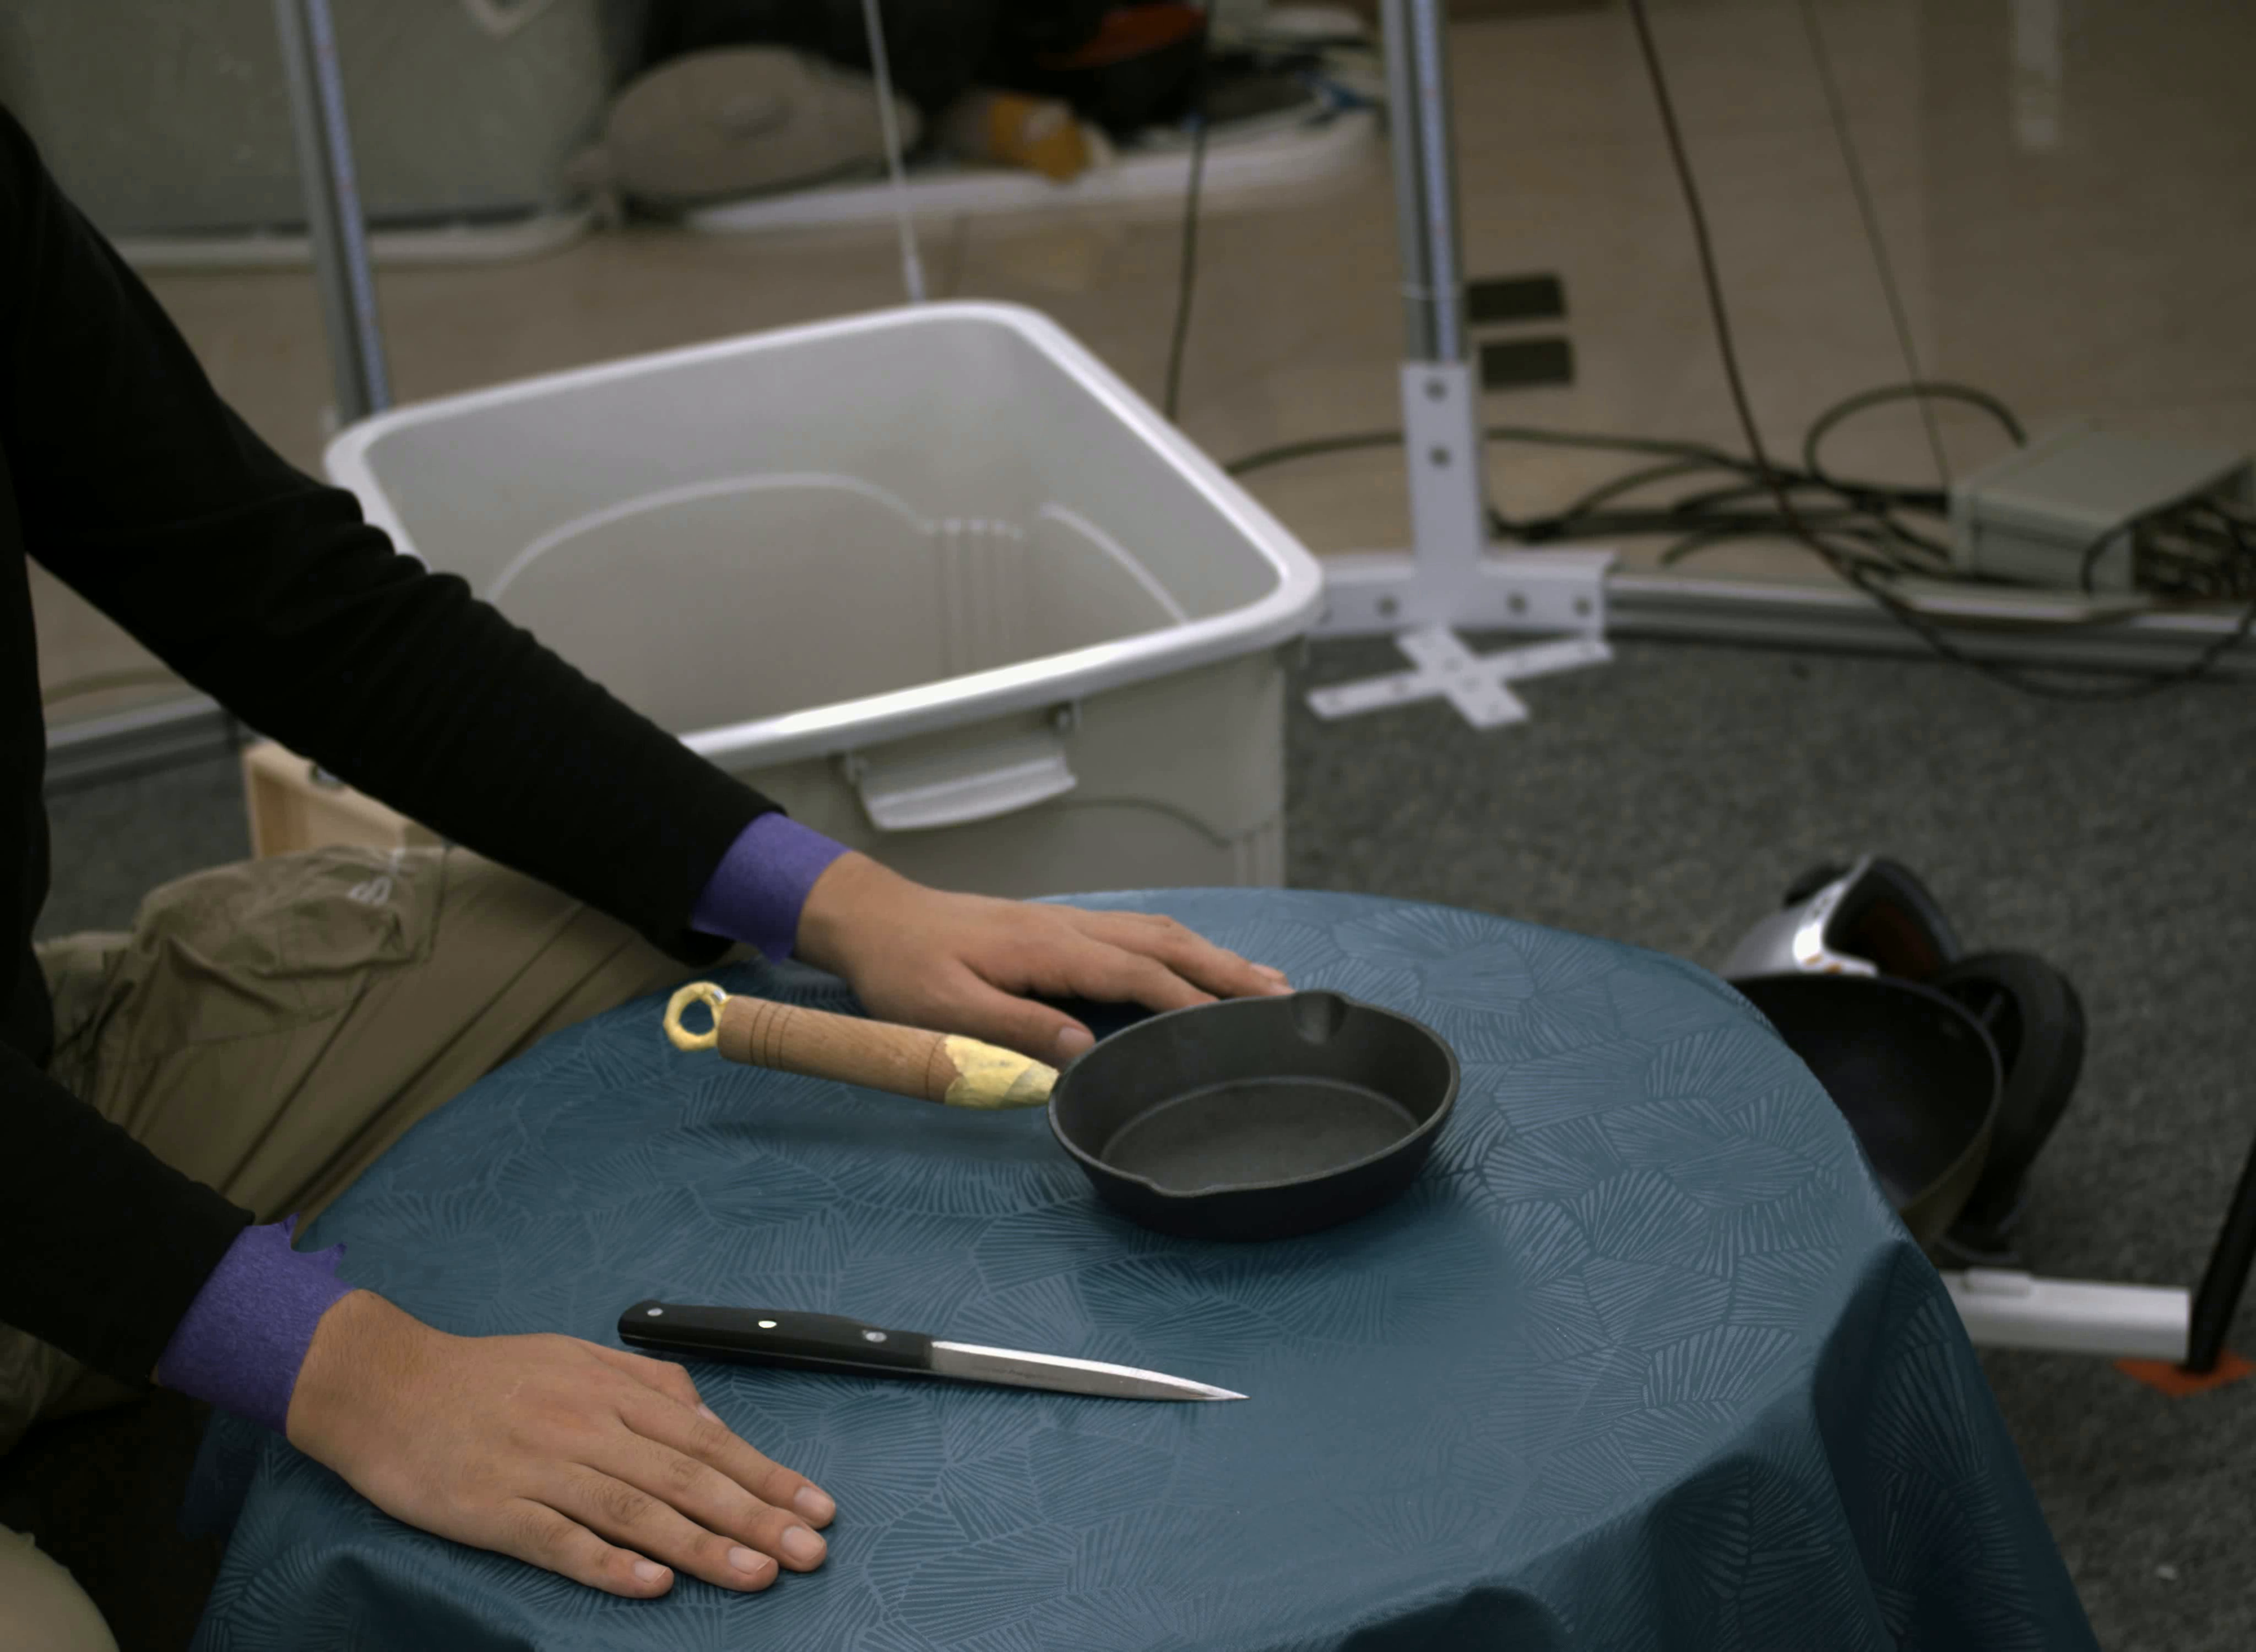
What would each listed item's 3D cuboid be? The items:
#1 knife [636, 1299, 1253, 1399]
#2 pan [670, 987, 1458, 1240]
[{"bbox_3d":[-0.069,0.192,2.041,0.237,0.016,0.024,5,28,18],"label":"knife"},{"bbox_3d":[-0.029,0.102,2.182,0.323,0.050,0.167,4,27,24],"label":"pan"}]
